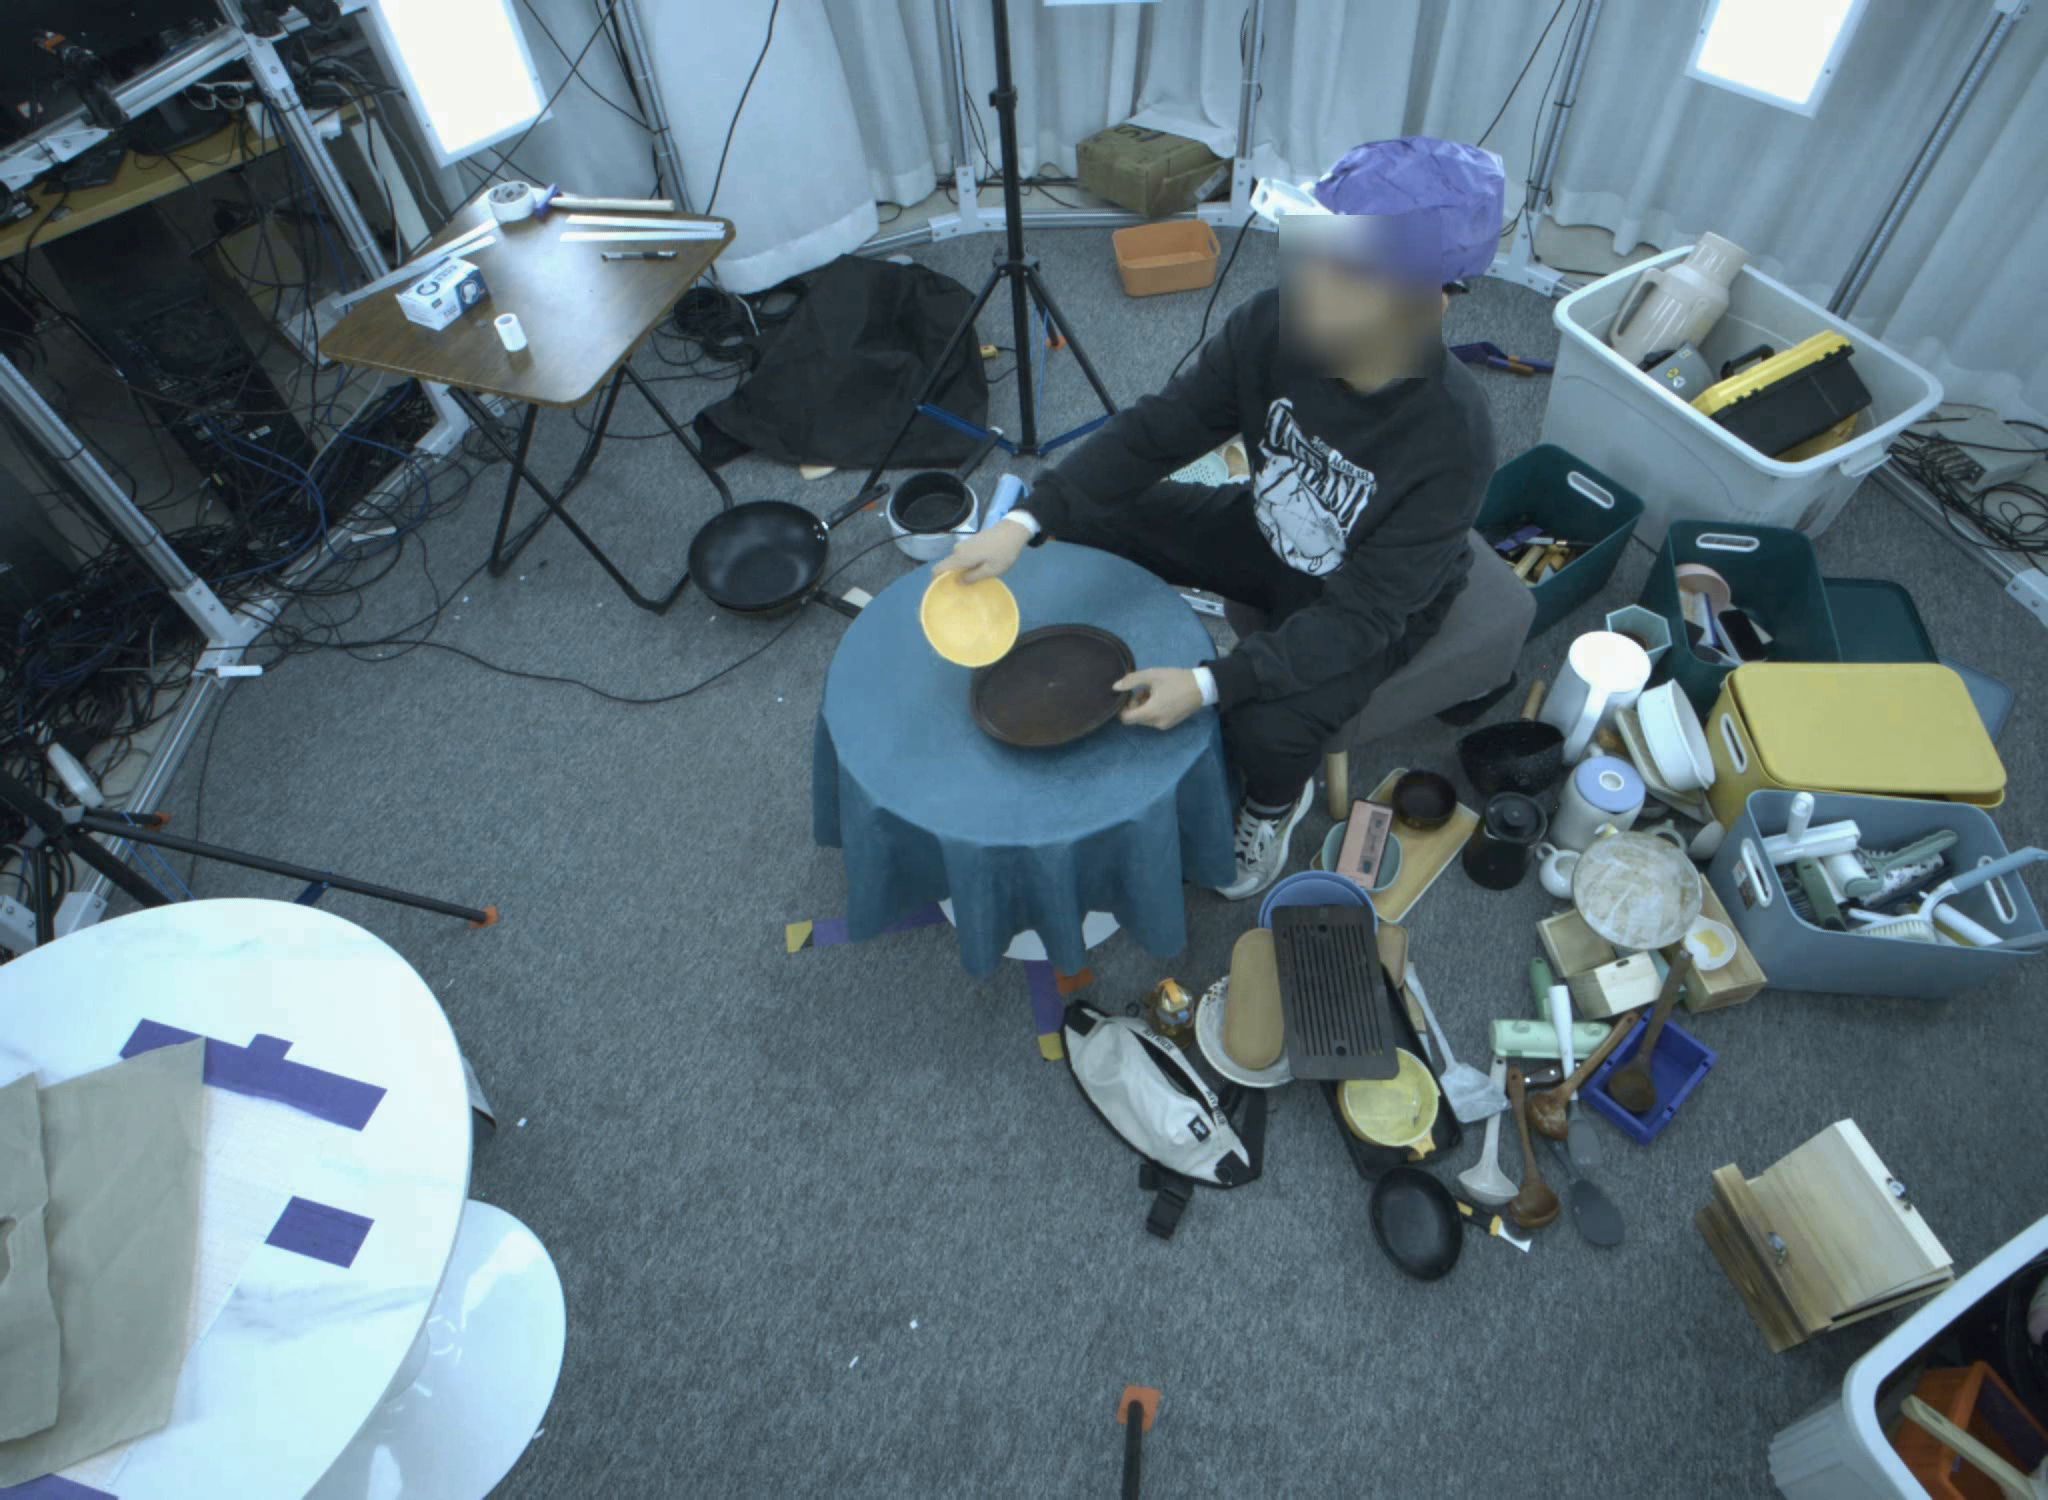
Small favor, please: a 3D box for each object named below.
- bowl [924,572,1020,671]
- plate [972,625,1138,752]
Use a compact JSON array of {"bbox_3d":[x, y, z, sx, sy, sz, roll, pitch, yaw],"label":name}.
[{"bbox_3d":[-0.083,-0.180,1.777,0.147,0.059,0.145,3,84,-22],"label":"bowl"},{"bbox_3d":[0.046,-0.091,1.817,0.253,0.029,0.252,-9,45,10],"label":"plate"}]
